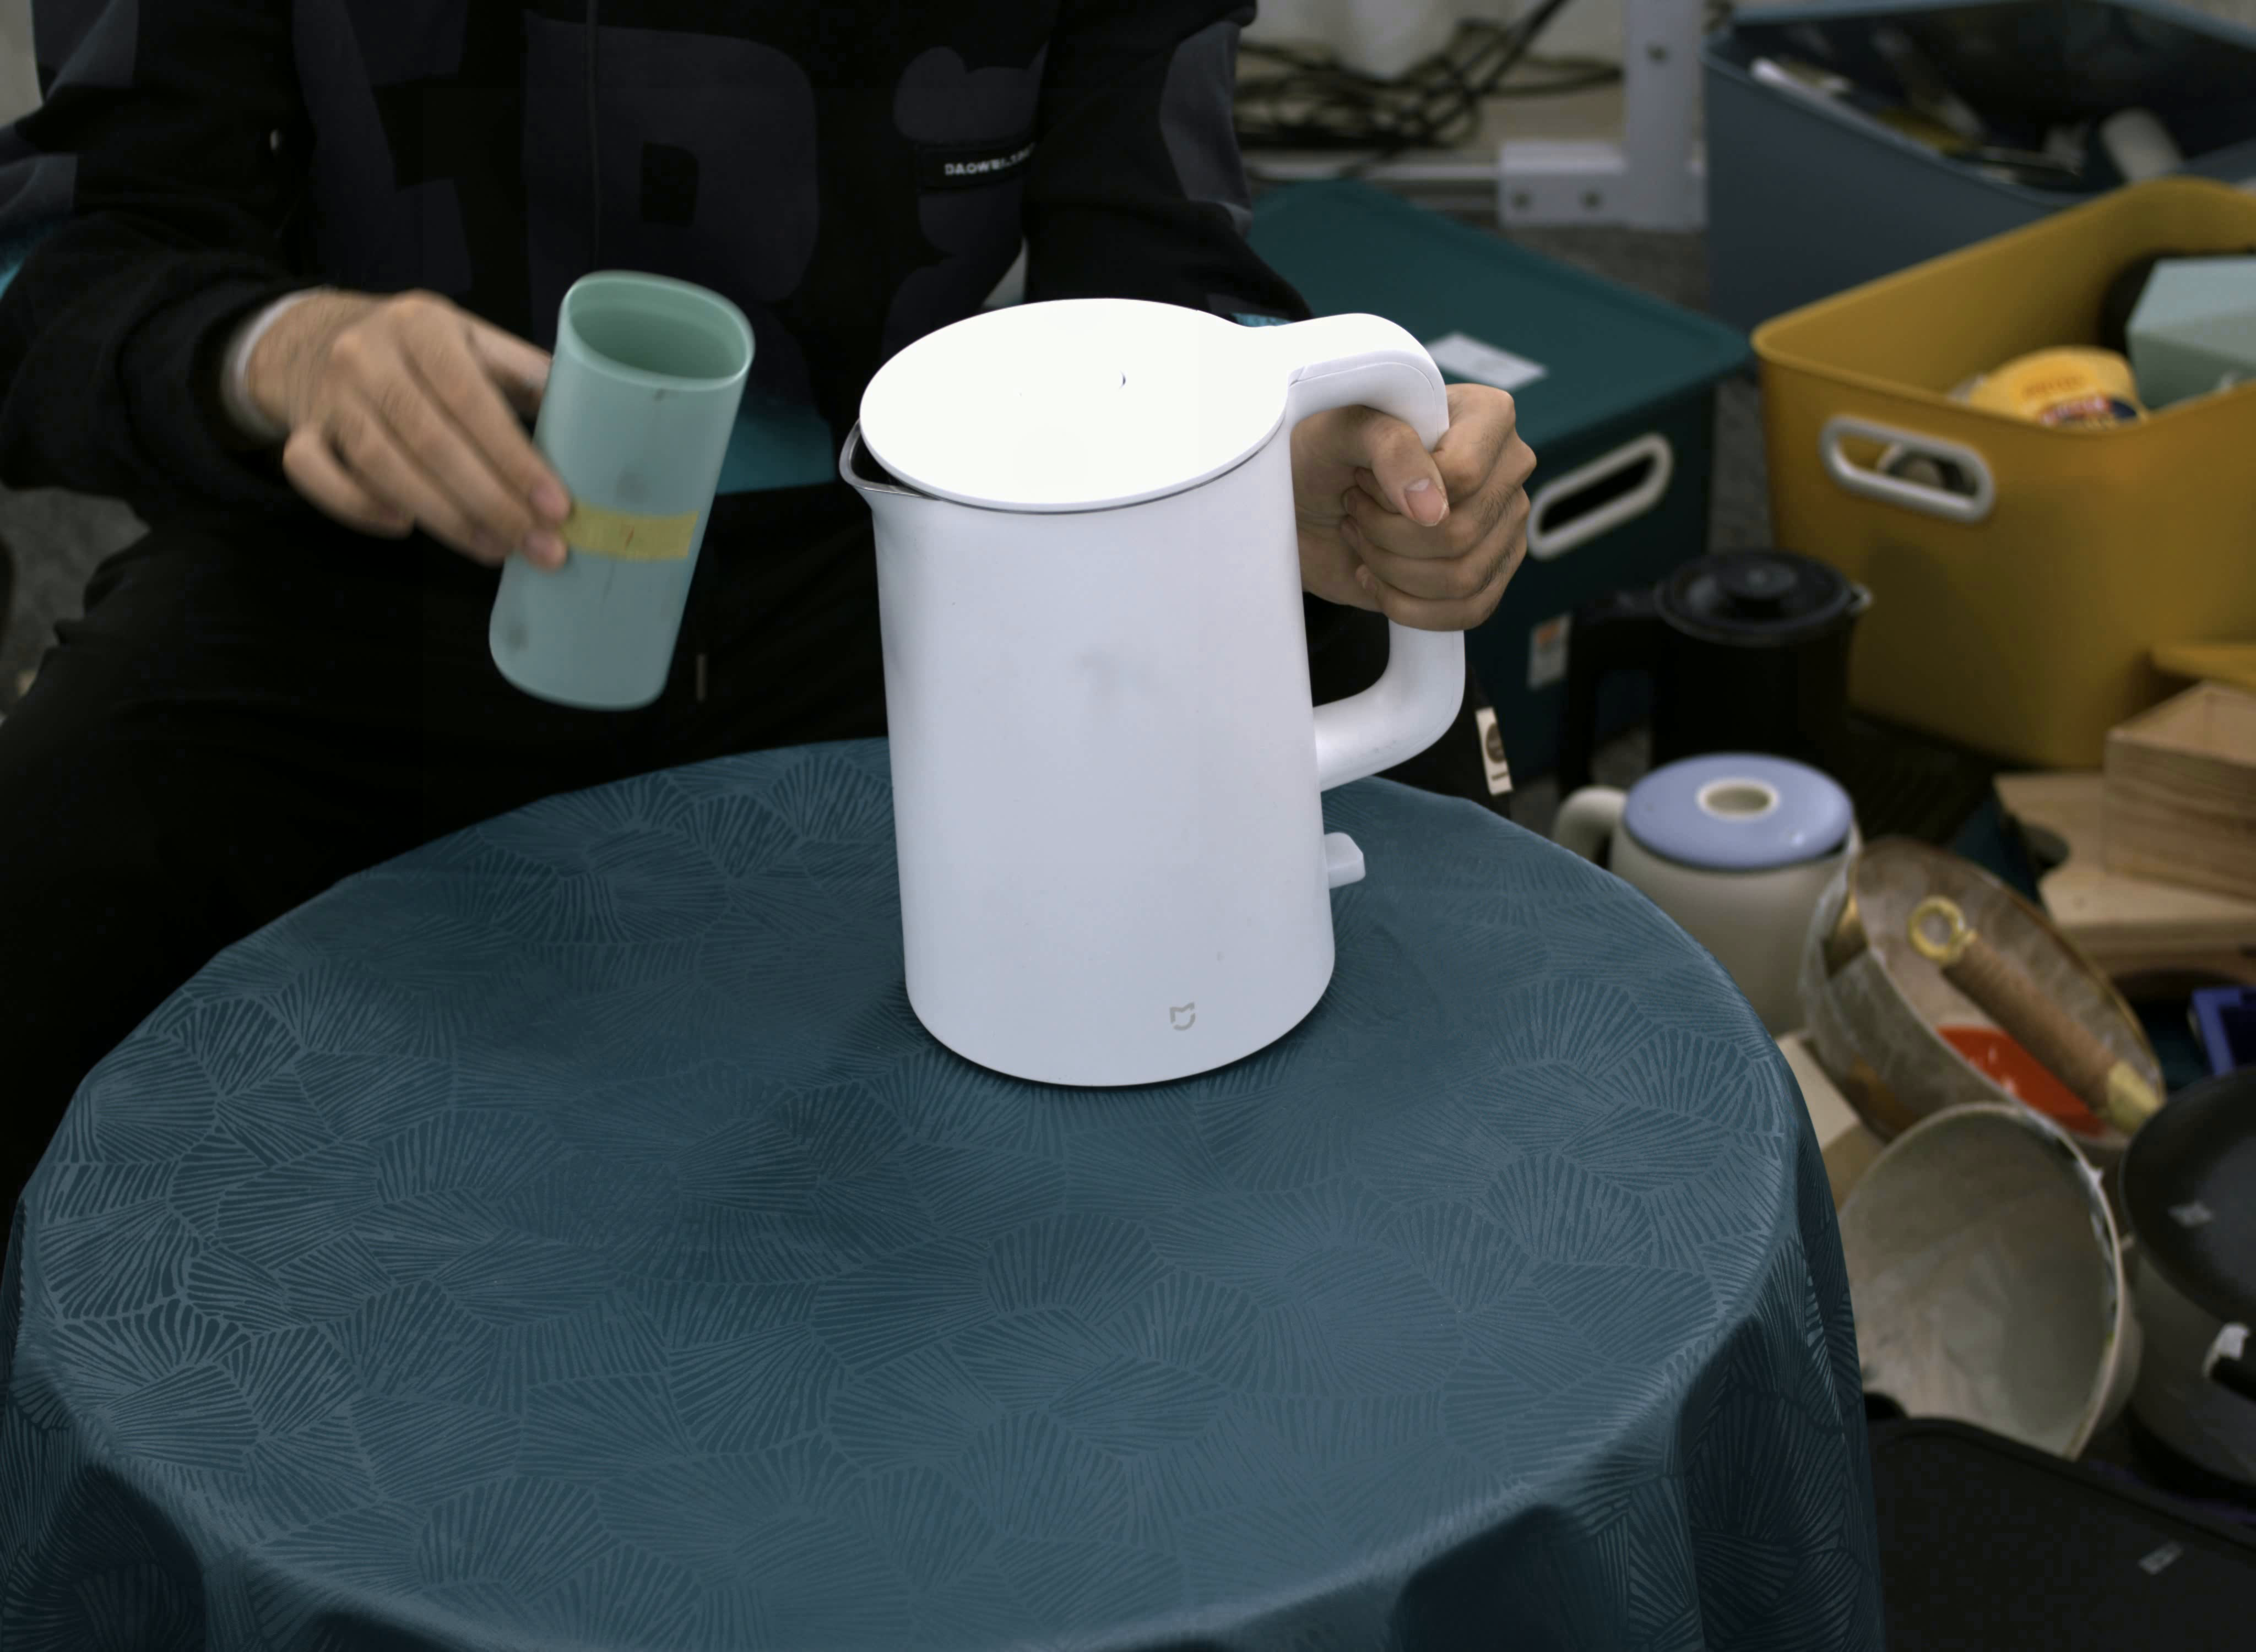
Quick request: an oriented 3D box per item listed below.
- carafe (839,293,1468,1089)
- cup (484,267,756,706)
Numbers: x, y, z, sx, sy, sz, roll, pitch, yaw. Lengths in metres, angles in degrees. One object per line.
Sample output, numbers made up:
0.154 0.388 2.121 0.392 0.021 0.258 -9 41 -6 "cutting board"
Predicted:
0.015 -0.053 1.930 0.213 0.237 0.153 -15 33 -15 "carafe"
-0.167 -0.111 1.842 0.066 0.130 0.068 14 33 -9 "cup"
